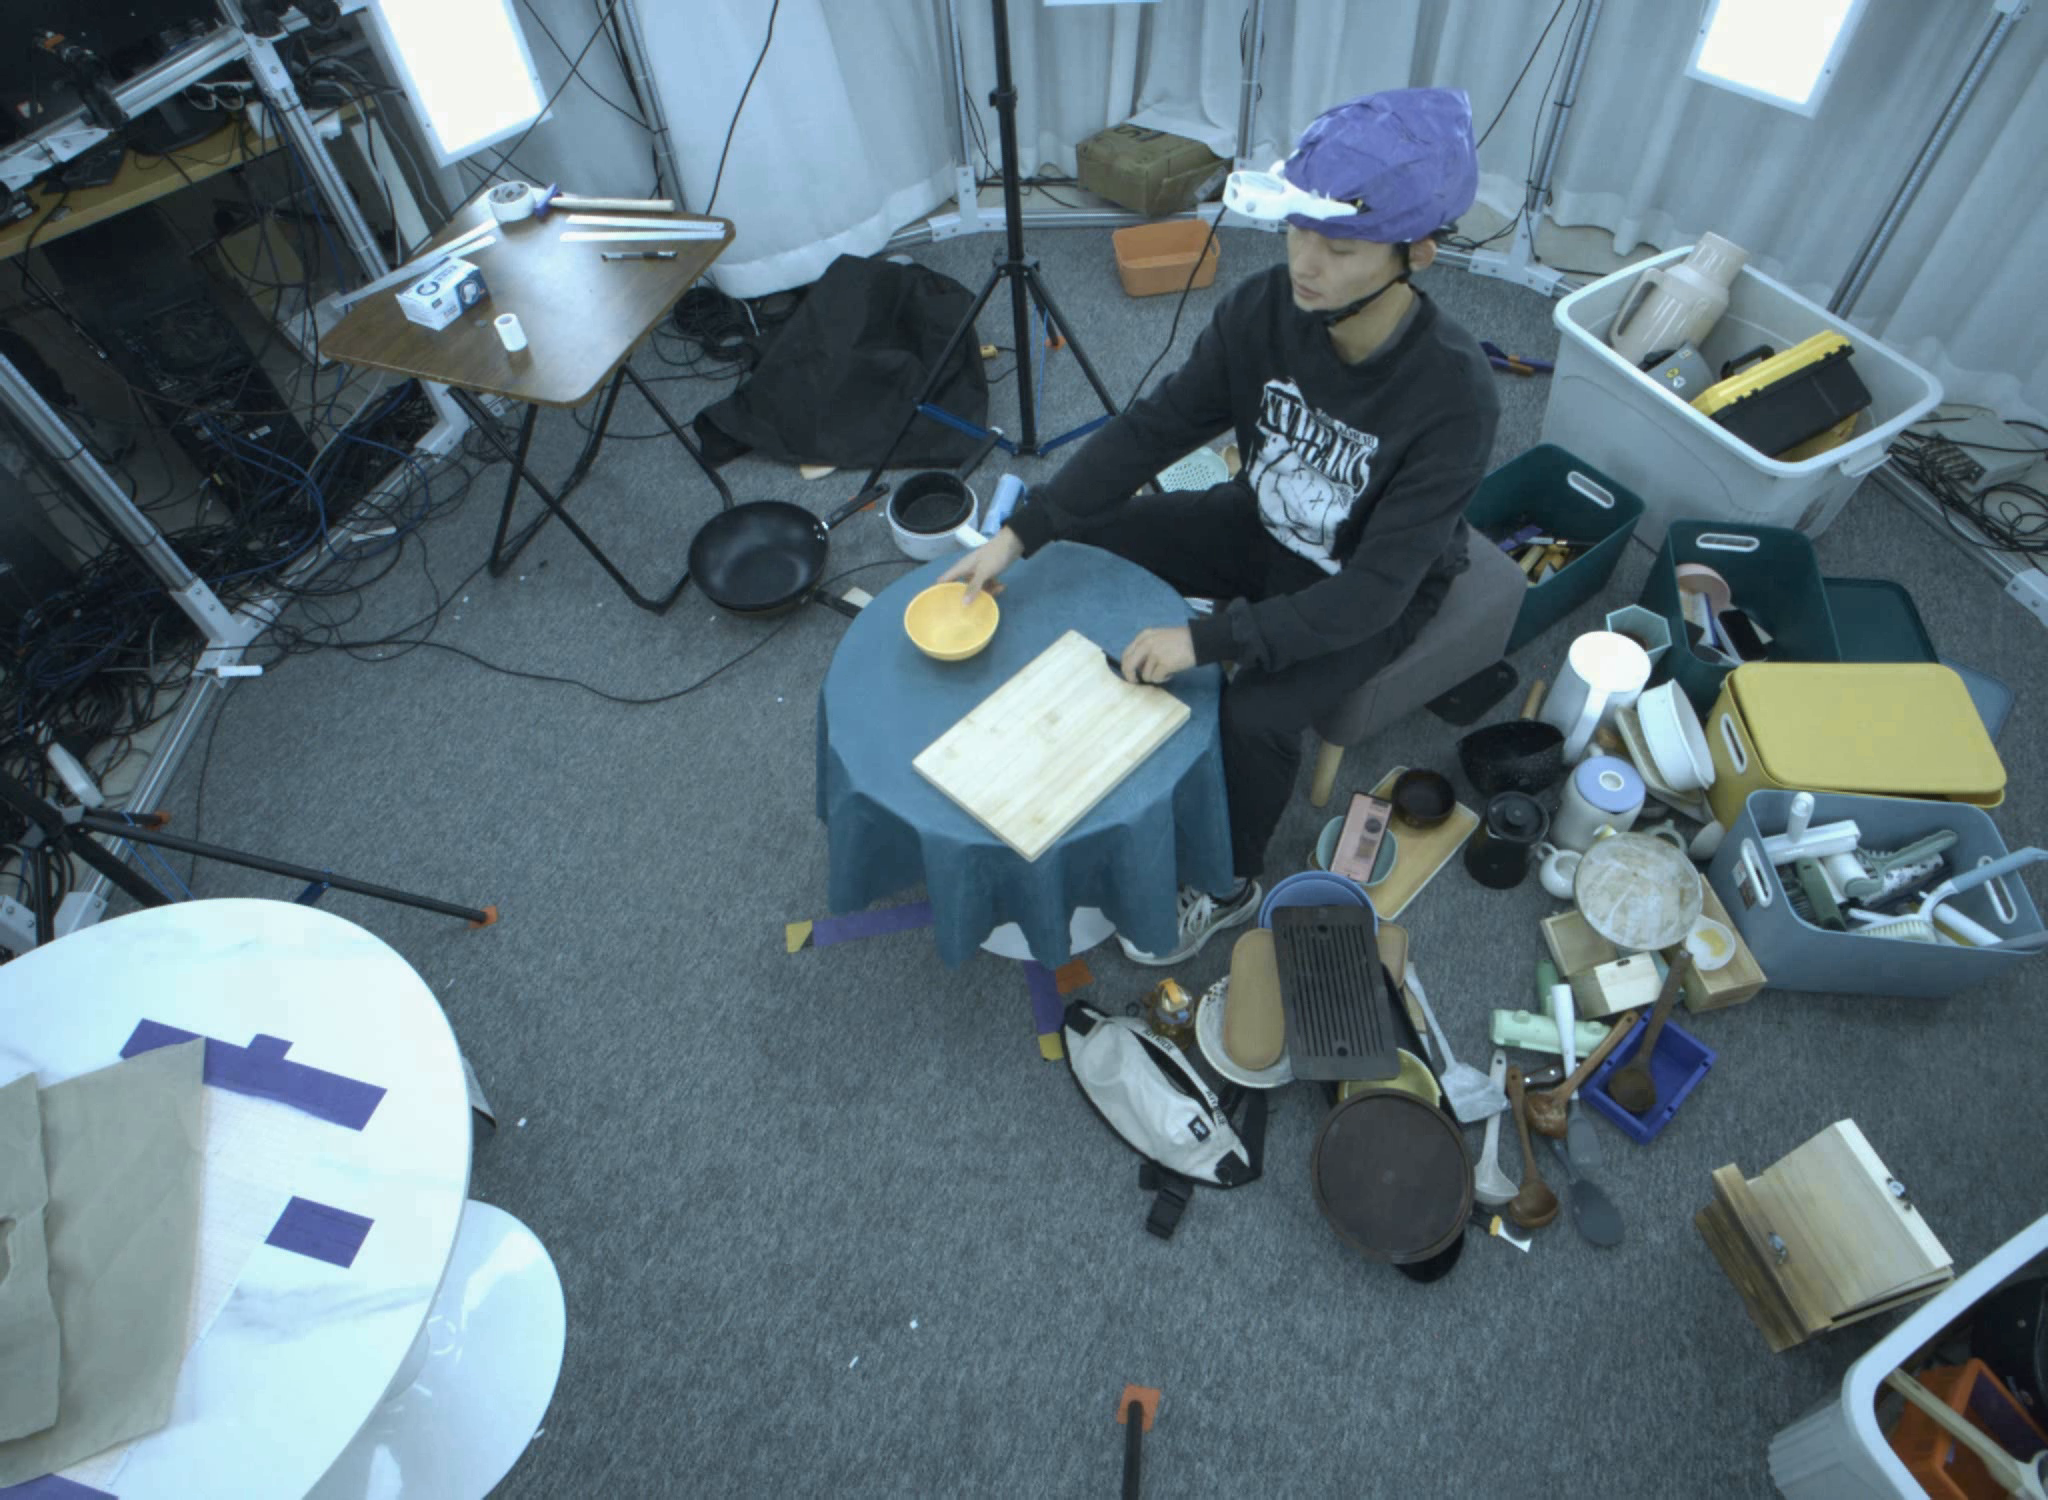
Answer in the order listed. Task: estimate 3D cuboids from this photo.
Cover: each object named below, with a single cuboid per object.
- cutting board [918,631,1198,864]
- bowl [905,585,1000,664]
[{"bbox_3d":[0.050,-0.014,1.797,0.246,0.024,0.351,36,63,24],"label":"cutting board"},{"bbox_3d":[-0.109,-0.182,1.895,0.145,0.060,0.144,1,56,-1],"label":"bowl"}]
